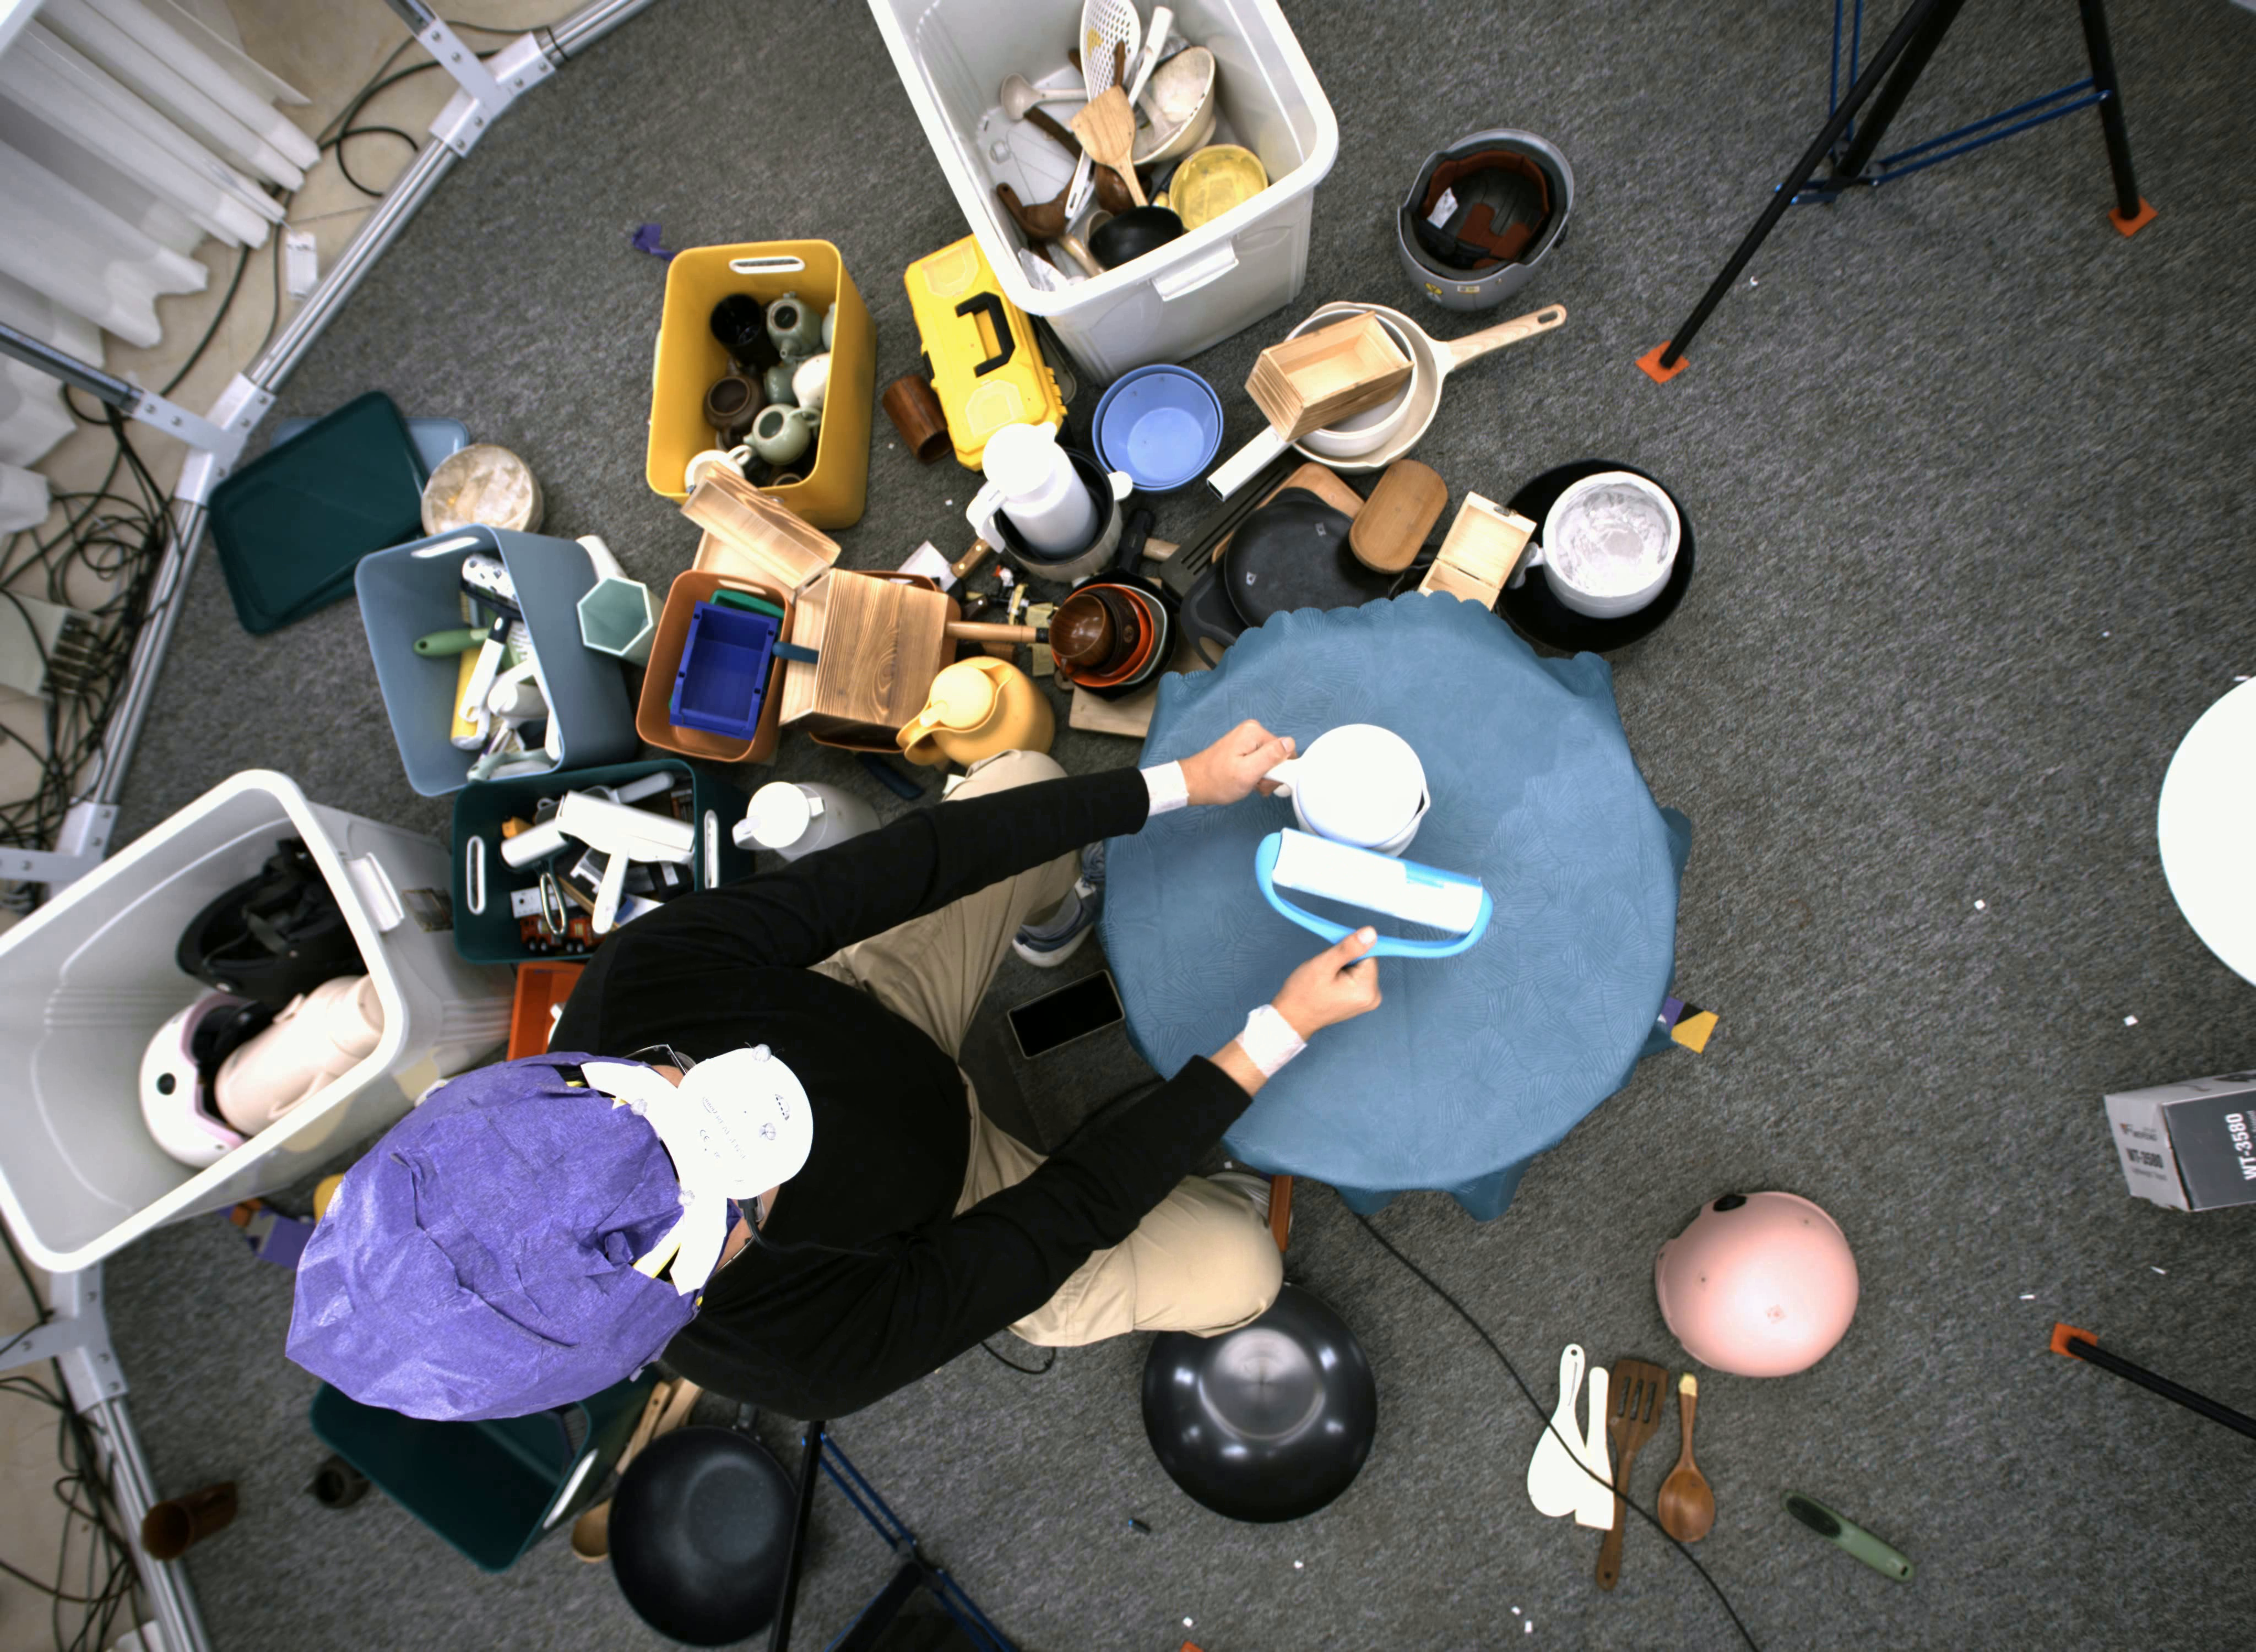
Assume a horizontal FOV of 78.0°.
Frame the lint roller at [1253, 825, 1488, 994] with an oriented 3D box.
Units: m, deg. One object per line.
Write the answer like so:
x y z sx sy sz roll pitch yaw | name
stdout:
0.215 0.102 1.328 0.229 0.066 0.184 14 120 -2 | lint roller

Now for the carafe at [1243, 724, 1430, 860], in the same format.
0.208 -0.034 1.390 0.191 0.183 0.132 14 87 13 | carafe
